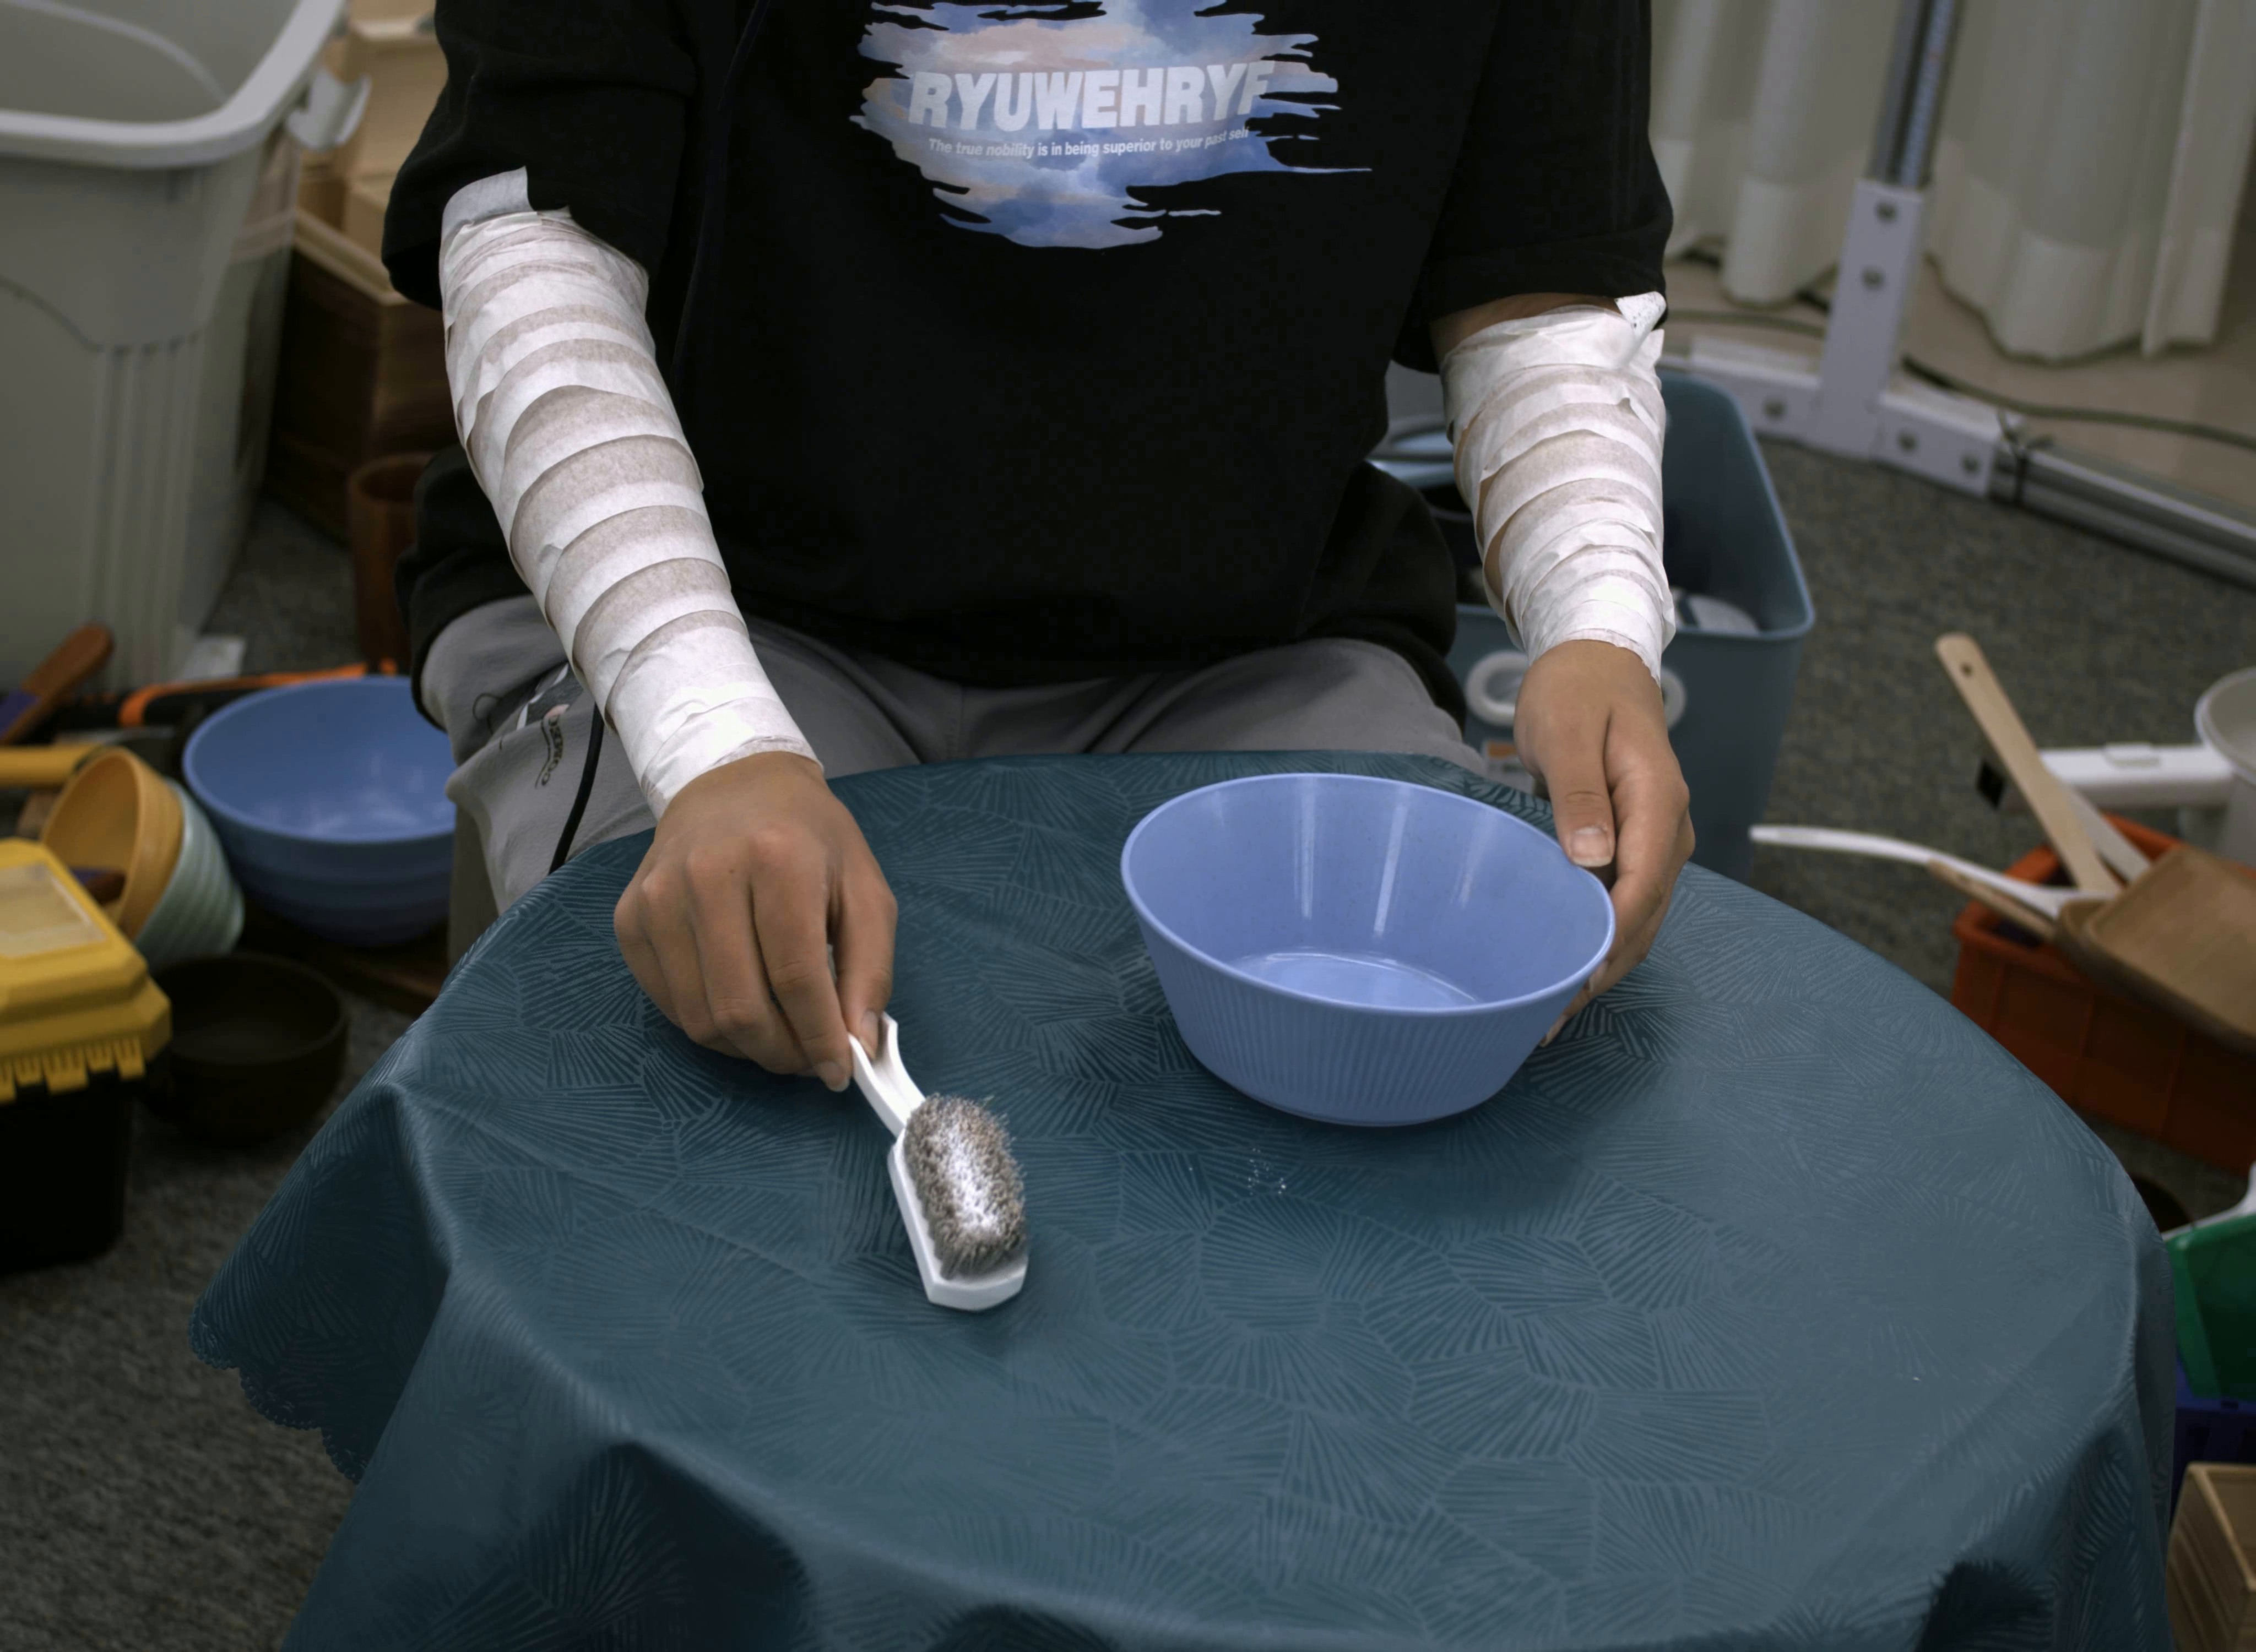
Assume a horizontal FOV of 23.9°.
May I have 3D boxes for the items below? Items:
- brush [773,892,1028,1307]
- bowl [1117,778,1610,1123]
[{"bbox_3d":[-0.081,0.076,1.803,0.034,0.050,0.246,-3,34,-18],"label":"brush"},{"bbox_3d":[0.079,0.049,1.890,0.175,0.070,0.177,6,26,-3],"label":"bowl"}]
